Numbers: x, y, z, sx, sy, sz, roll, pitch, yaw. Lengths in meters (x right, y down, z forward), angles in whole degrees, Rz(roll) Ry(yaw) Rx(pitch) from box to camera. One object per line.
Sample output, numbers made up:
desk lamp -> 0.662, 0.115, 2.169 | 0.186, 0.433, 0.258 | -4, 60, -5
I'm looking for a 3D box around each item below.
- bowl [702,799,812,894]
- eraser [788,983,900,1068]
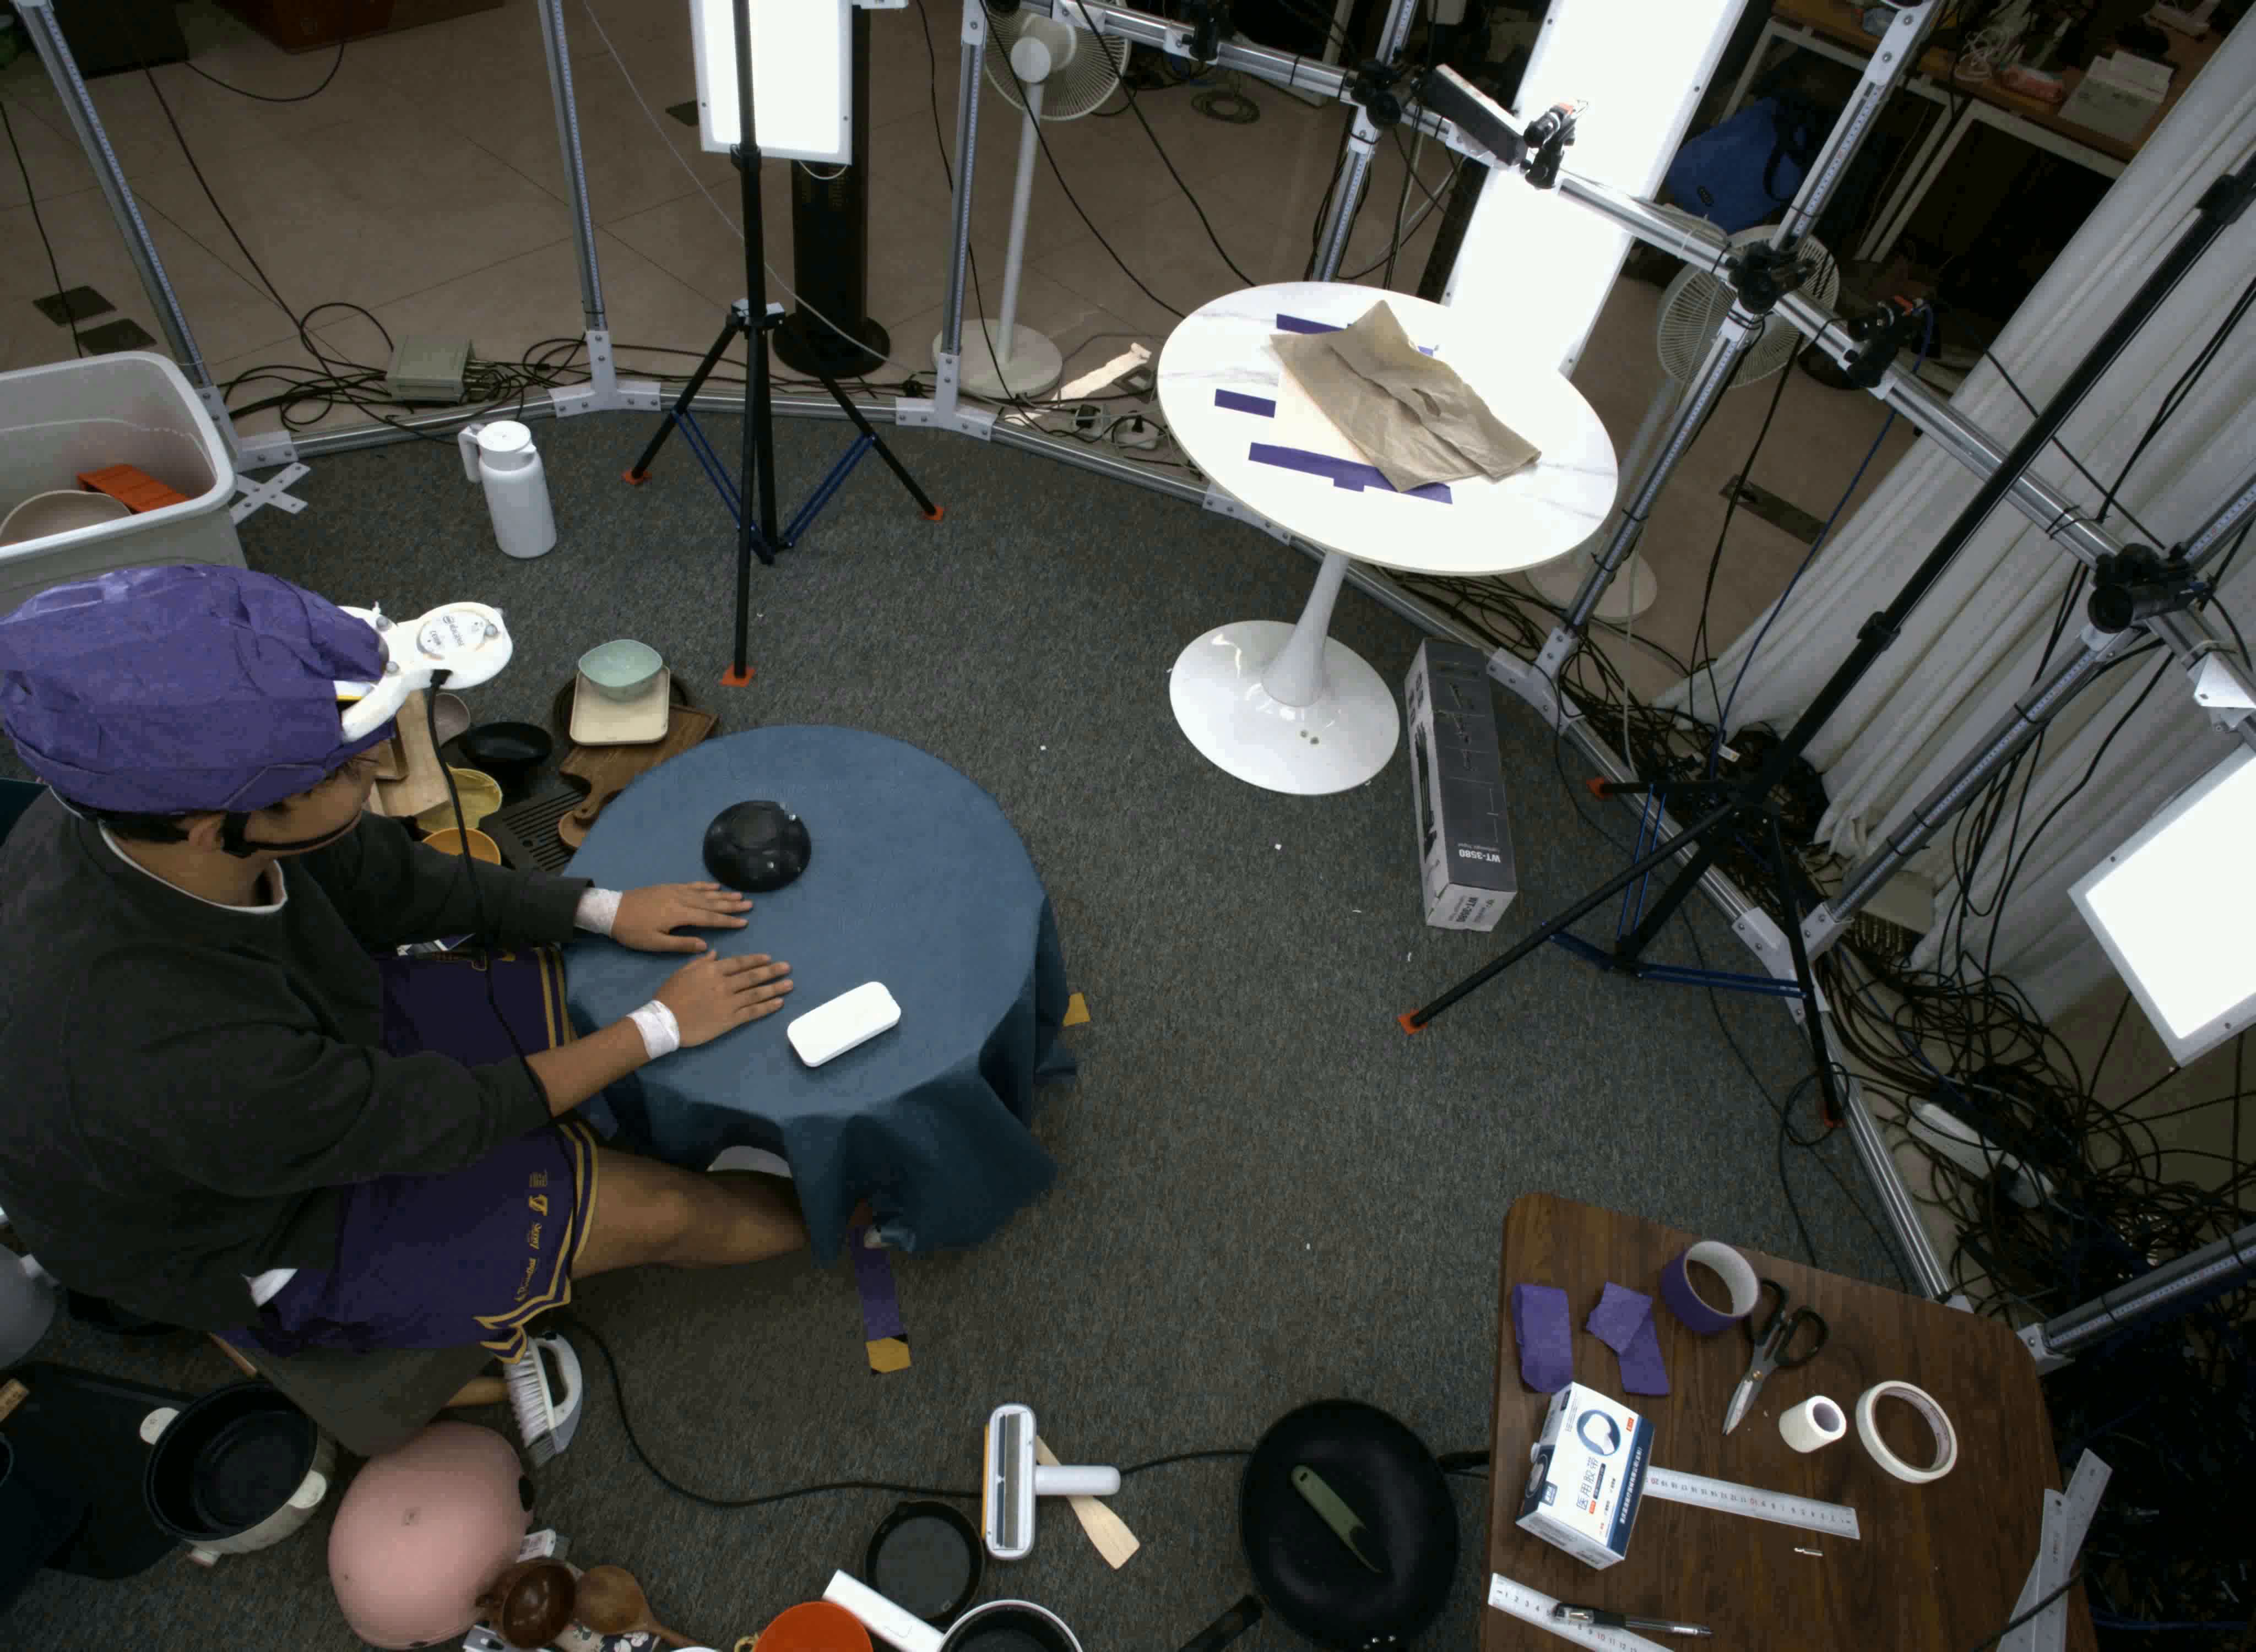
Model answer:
bowl -> -0.480, 0.015, 1.670 | 0.140, 0.050, 0.137 | 9, 53, -10
eraser -> -0.340, 0.234, 1.555 | 0.132, 0.035, 0.062 | -24, 61, -30
